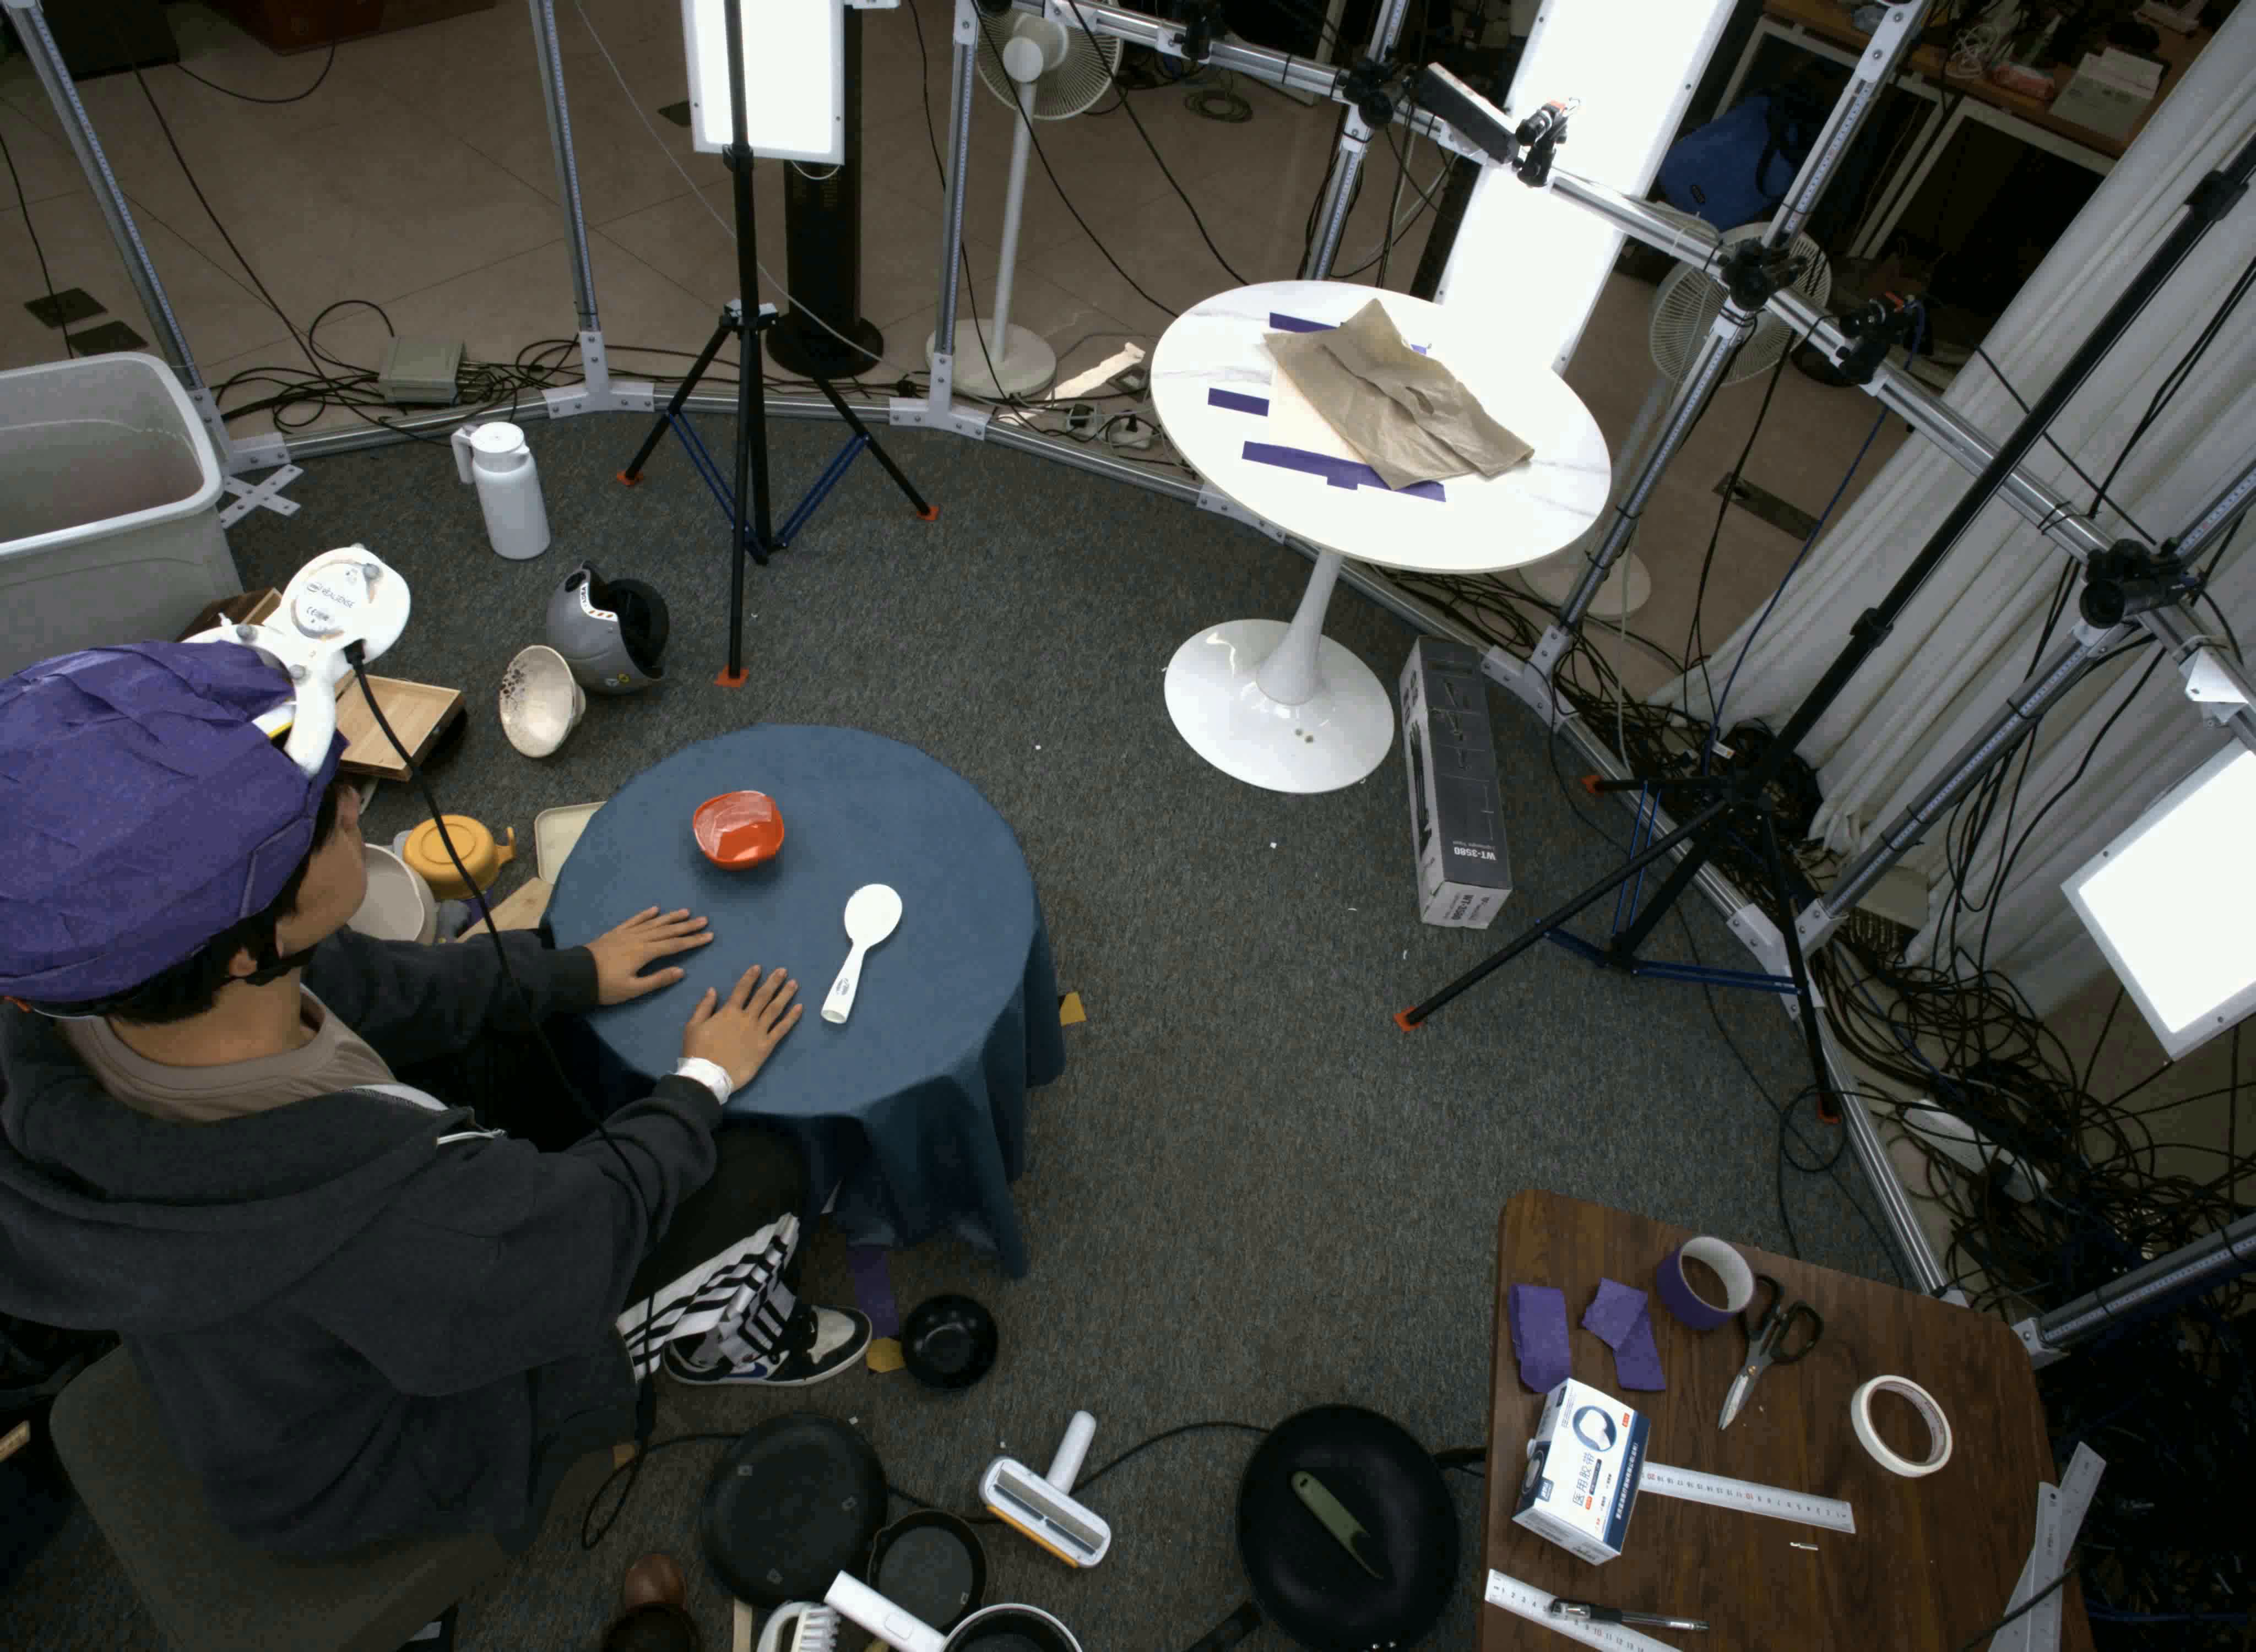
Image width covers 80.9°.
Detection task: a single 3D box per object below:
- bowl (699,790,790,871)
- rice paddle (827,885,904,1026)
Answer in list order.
[{"bbox_3d":[-0.494,0.012,1.667,0.119,0.052,0.117,8,52,-9],"label":"bowl"},{"bbox_3d":[-0.331,0.151,1.620,0.068,0.030,0.202,16,52,-4],"label":"rice paddle"}]
